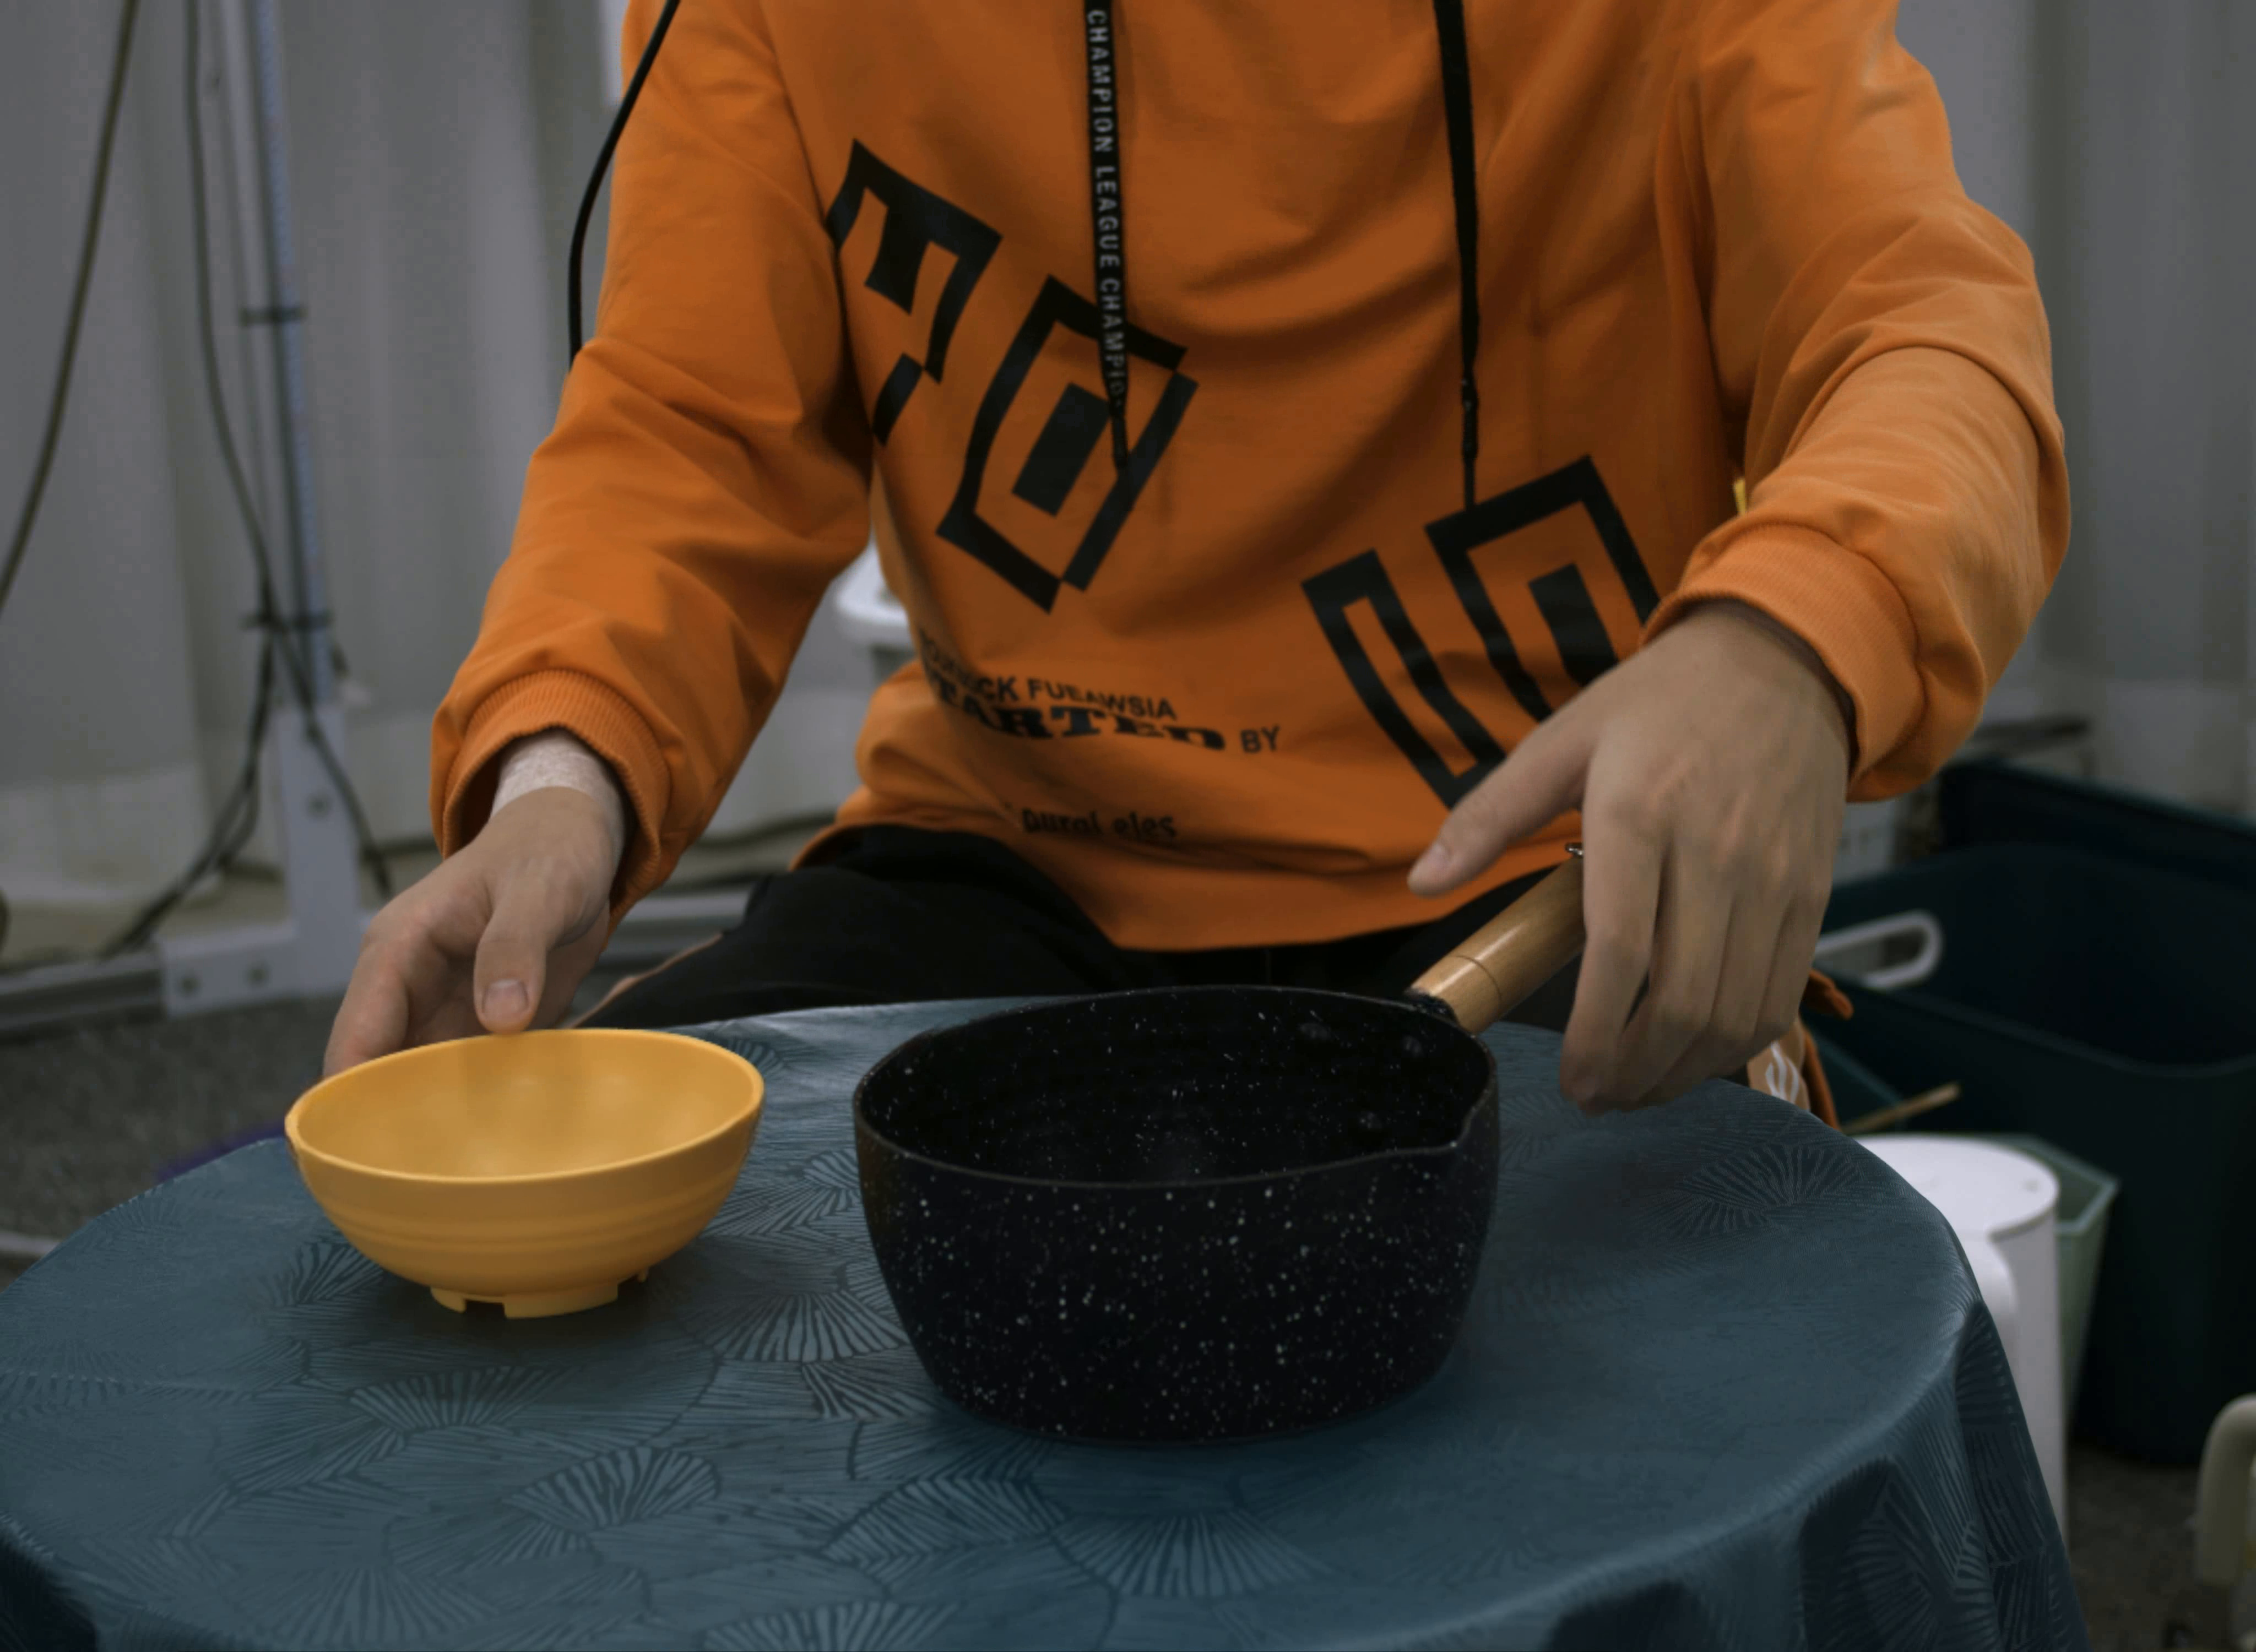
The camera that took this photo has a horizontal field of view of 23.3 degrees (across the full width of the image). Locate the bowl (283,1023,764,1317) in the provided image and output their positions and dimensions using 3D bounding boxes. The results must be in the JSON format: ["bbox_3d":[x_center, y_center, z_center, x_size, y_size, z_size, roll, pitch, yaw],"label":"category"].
[{"bbox_3d":[-0.181,0.110,1.656,0.145,0.060,0.146,-2,15,0],"label":"bowl"}]

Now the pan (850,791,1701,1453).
[{"bbox_3d":[0.065,0.082,1.616,0.208,0.108,0.343,7,19,39],"label":"pan"}]
